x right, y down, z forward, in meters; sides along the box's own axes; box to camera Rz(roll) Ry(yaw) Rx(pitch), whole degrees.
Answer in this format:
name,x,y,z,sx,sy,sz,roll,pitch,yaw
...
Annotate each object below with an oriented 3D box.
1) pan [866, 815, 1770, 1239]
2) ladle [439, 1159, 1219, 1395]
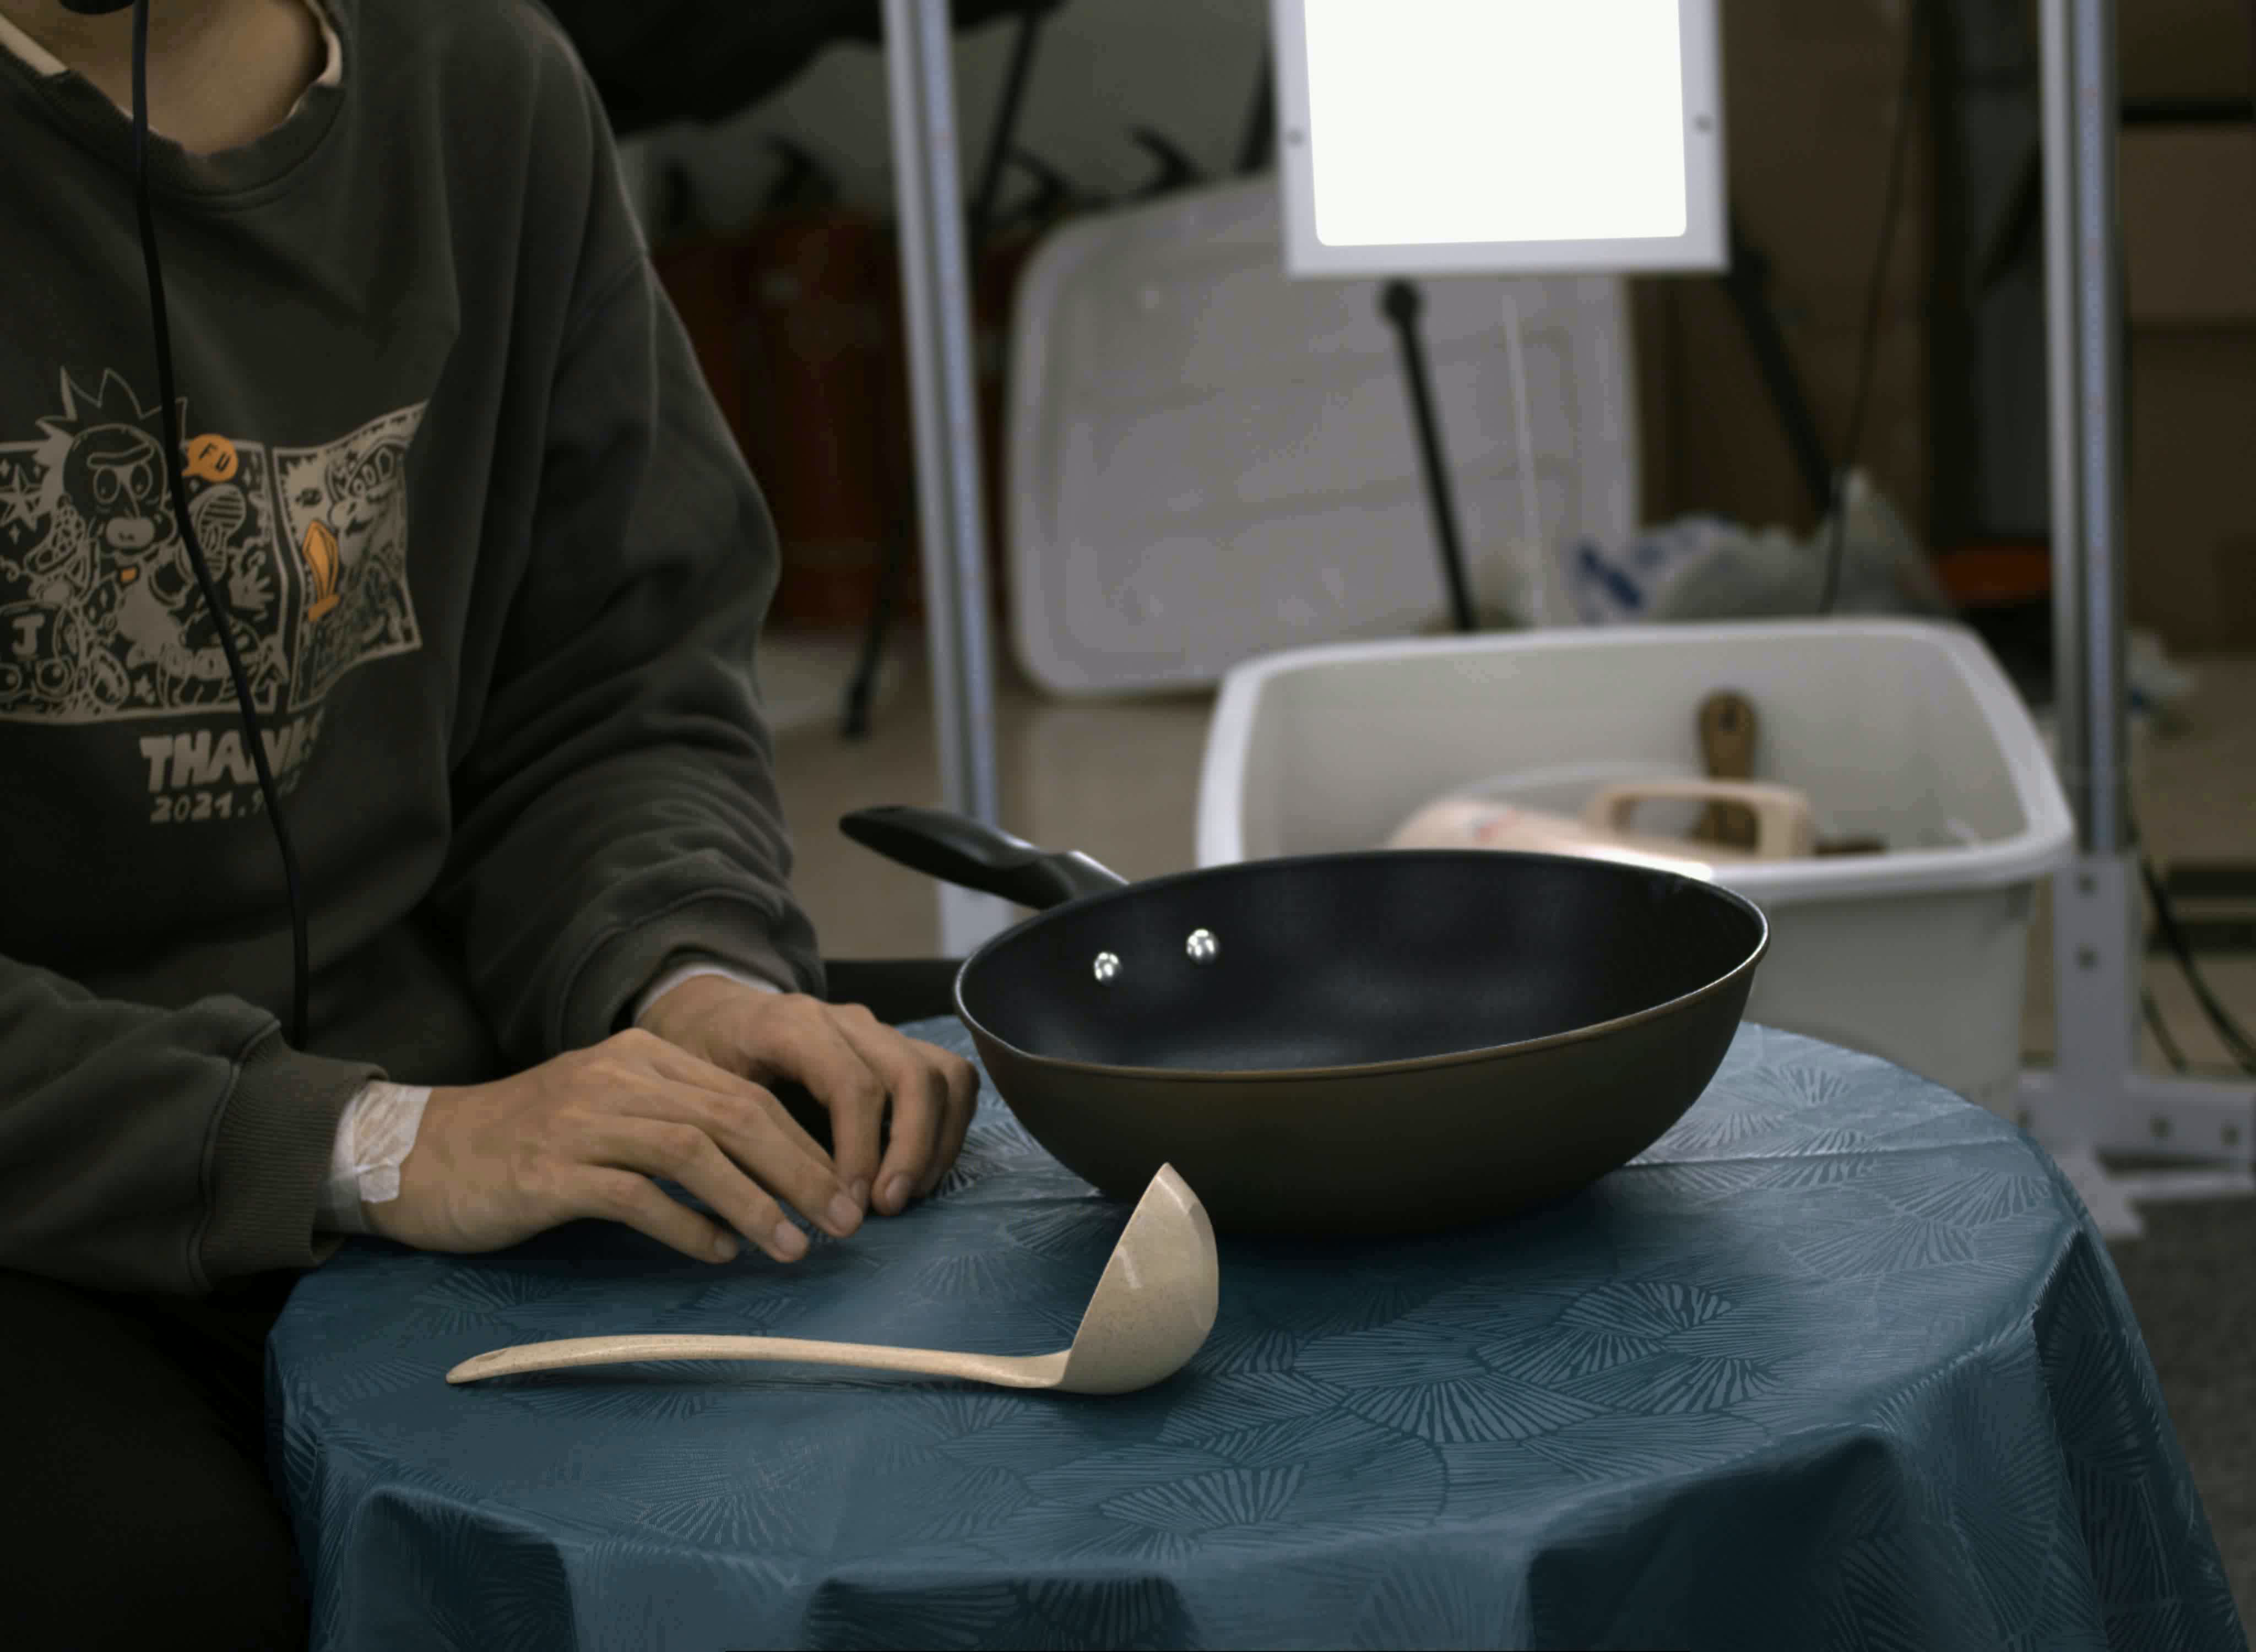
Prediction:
name,x,y,z,sx,sy,sz,roll,pitch,yaw
pan,0.030,0.066,1.956,0.281,0.087,0.472,-14,15,-31
ladle,-0.098,0.141,1.722,0.256,0.073,0.071,-1,20,14
